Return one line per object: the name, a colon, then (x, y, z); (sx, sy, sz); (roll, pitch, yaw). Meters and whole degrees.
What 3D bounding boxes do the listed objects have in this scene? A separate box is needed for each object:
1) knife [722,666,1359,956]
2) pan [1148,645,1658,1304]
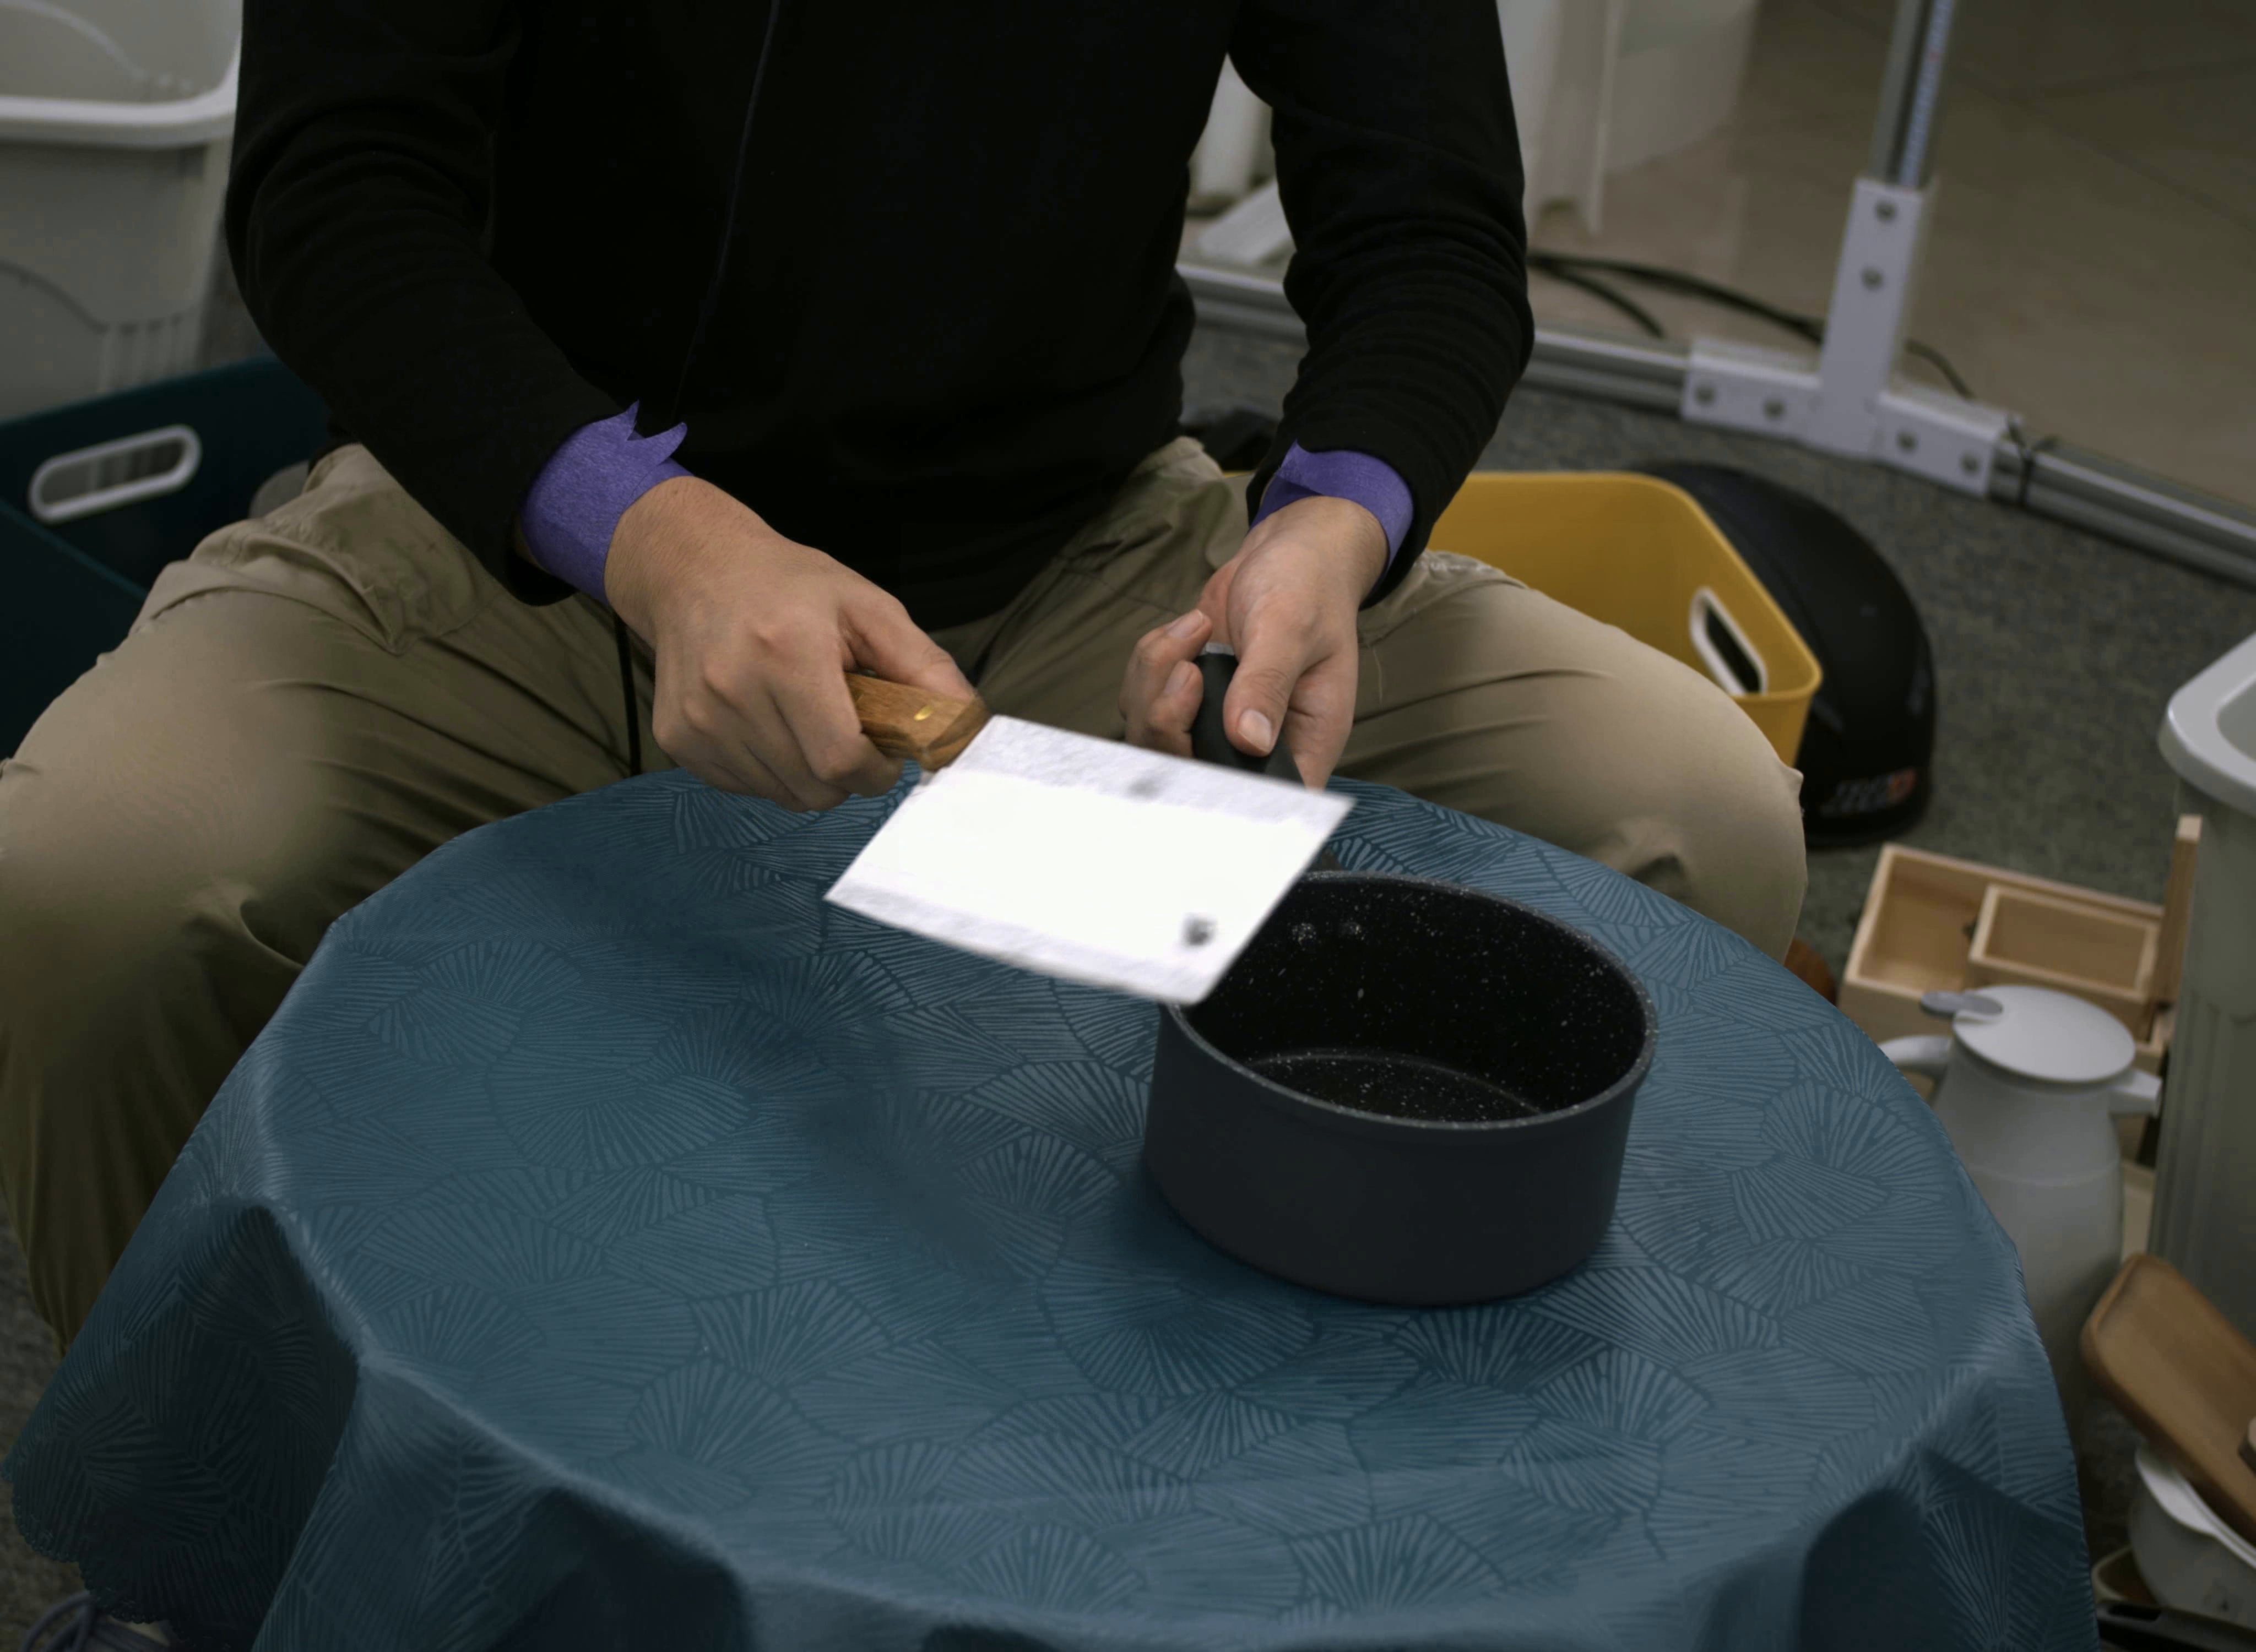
knife: (-0.049, -0.004, 1.813); (0.308, 0.021, 0.093); (13, 57, 46)
pan: (0.071, 0.049, 1.874); (0.171, 0.086, 0.331); (-1, 29, -14)
